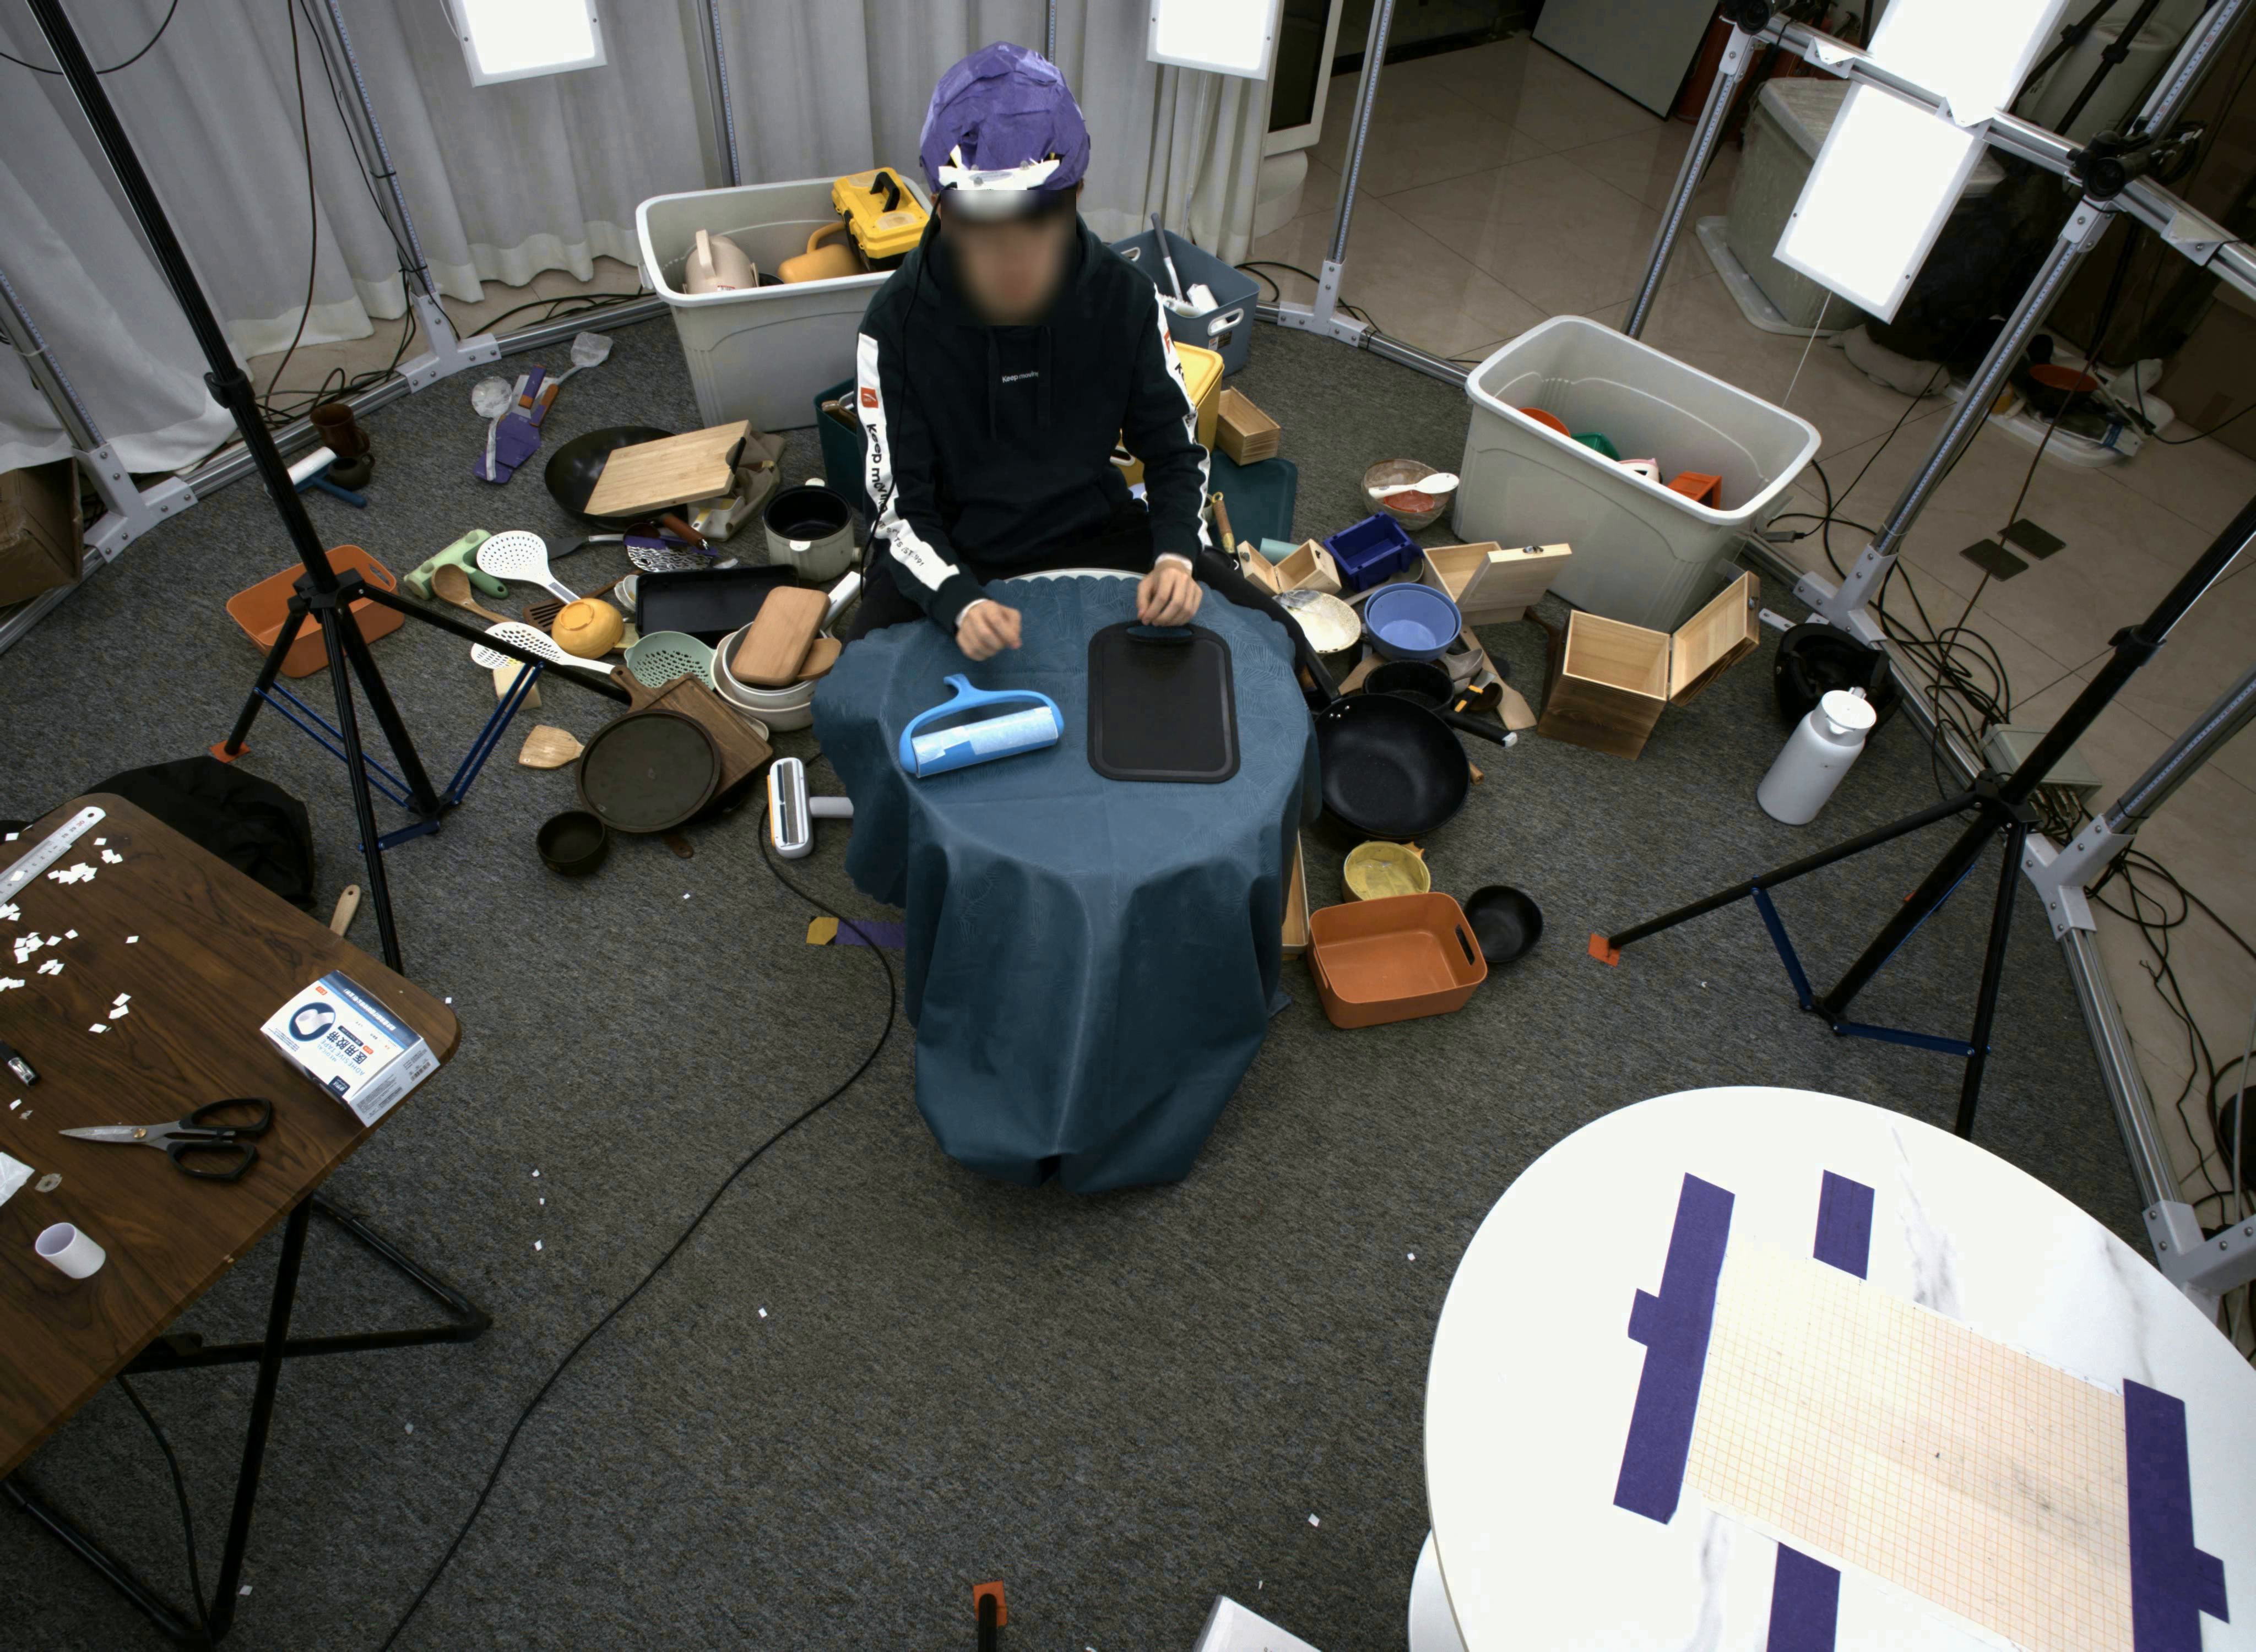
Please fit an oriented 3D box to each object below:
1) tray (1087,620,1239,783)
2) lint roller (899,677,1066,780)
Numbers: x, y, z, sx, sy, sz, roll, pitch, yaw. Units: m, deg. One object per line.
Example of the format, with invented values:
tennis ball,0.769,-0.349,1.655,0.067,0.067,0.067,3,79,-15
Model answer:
tray,0.048,-0.186,1.828,0.211,0.009,0.333,2,49,-2
lint roller,-0.216,-0.156,1.753,0.229,0.066,0.184,-18,54,-16
